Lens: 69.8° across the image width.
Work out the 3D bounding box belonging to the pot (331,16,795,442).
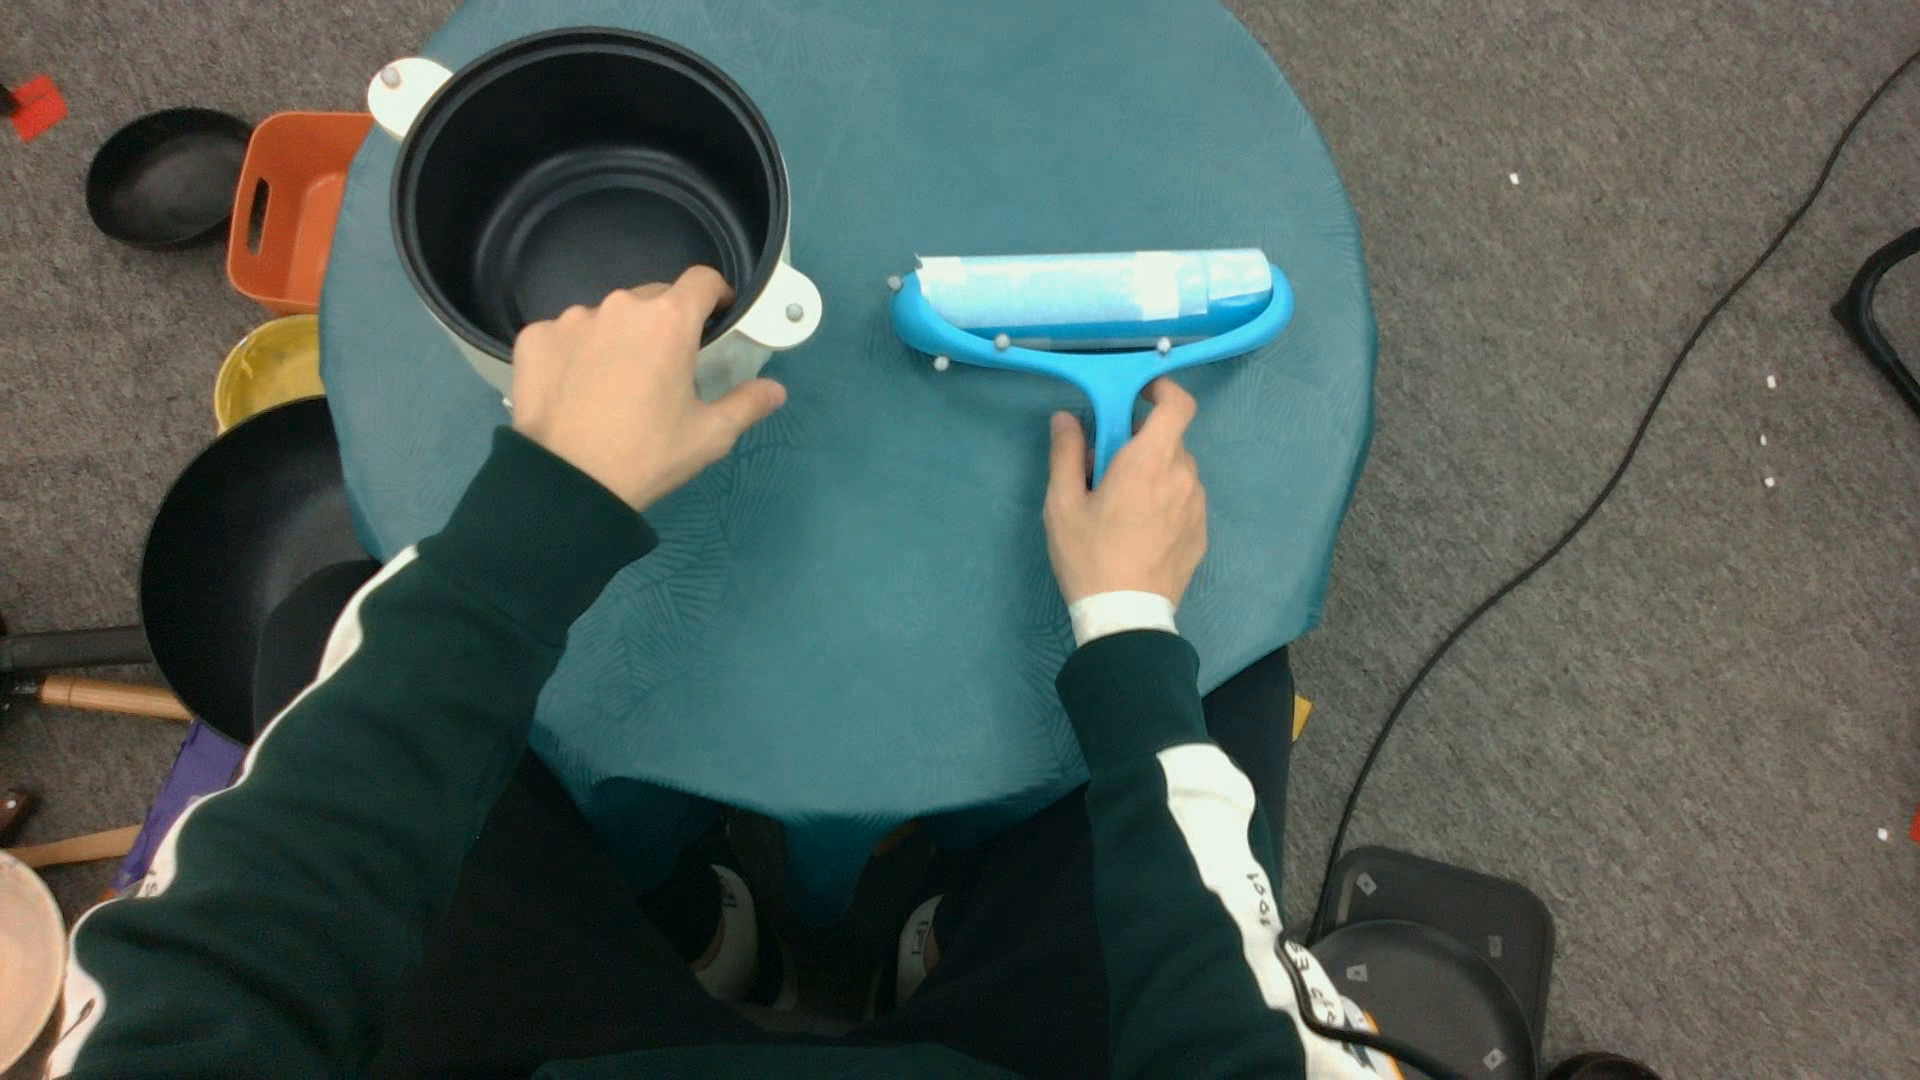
[{"bbox_3d":[-0.190,-0.155,0.706,0.240,0.142,0.191,28,78,0],"label":"pot"}]

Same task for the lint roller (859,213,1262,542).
[{"bbox_3d":[0.068,-0.093,0.761,0.229,0.068,0.180,-8,76,-10],"label":"lint roller"}]
